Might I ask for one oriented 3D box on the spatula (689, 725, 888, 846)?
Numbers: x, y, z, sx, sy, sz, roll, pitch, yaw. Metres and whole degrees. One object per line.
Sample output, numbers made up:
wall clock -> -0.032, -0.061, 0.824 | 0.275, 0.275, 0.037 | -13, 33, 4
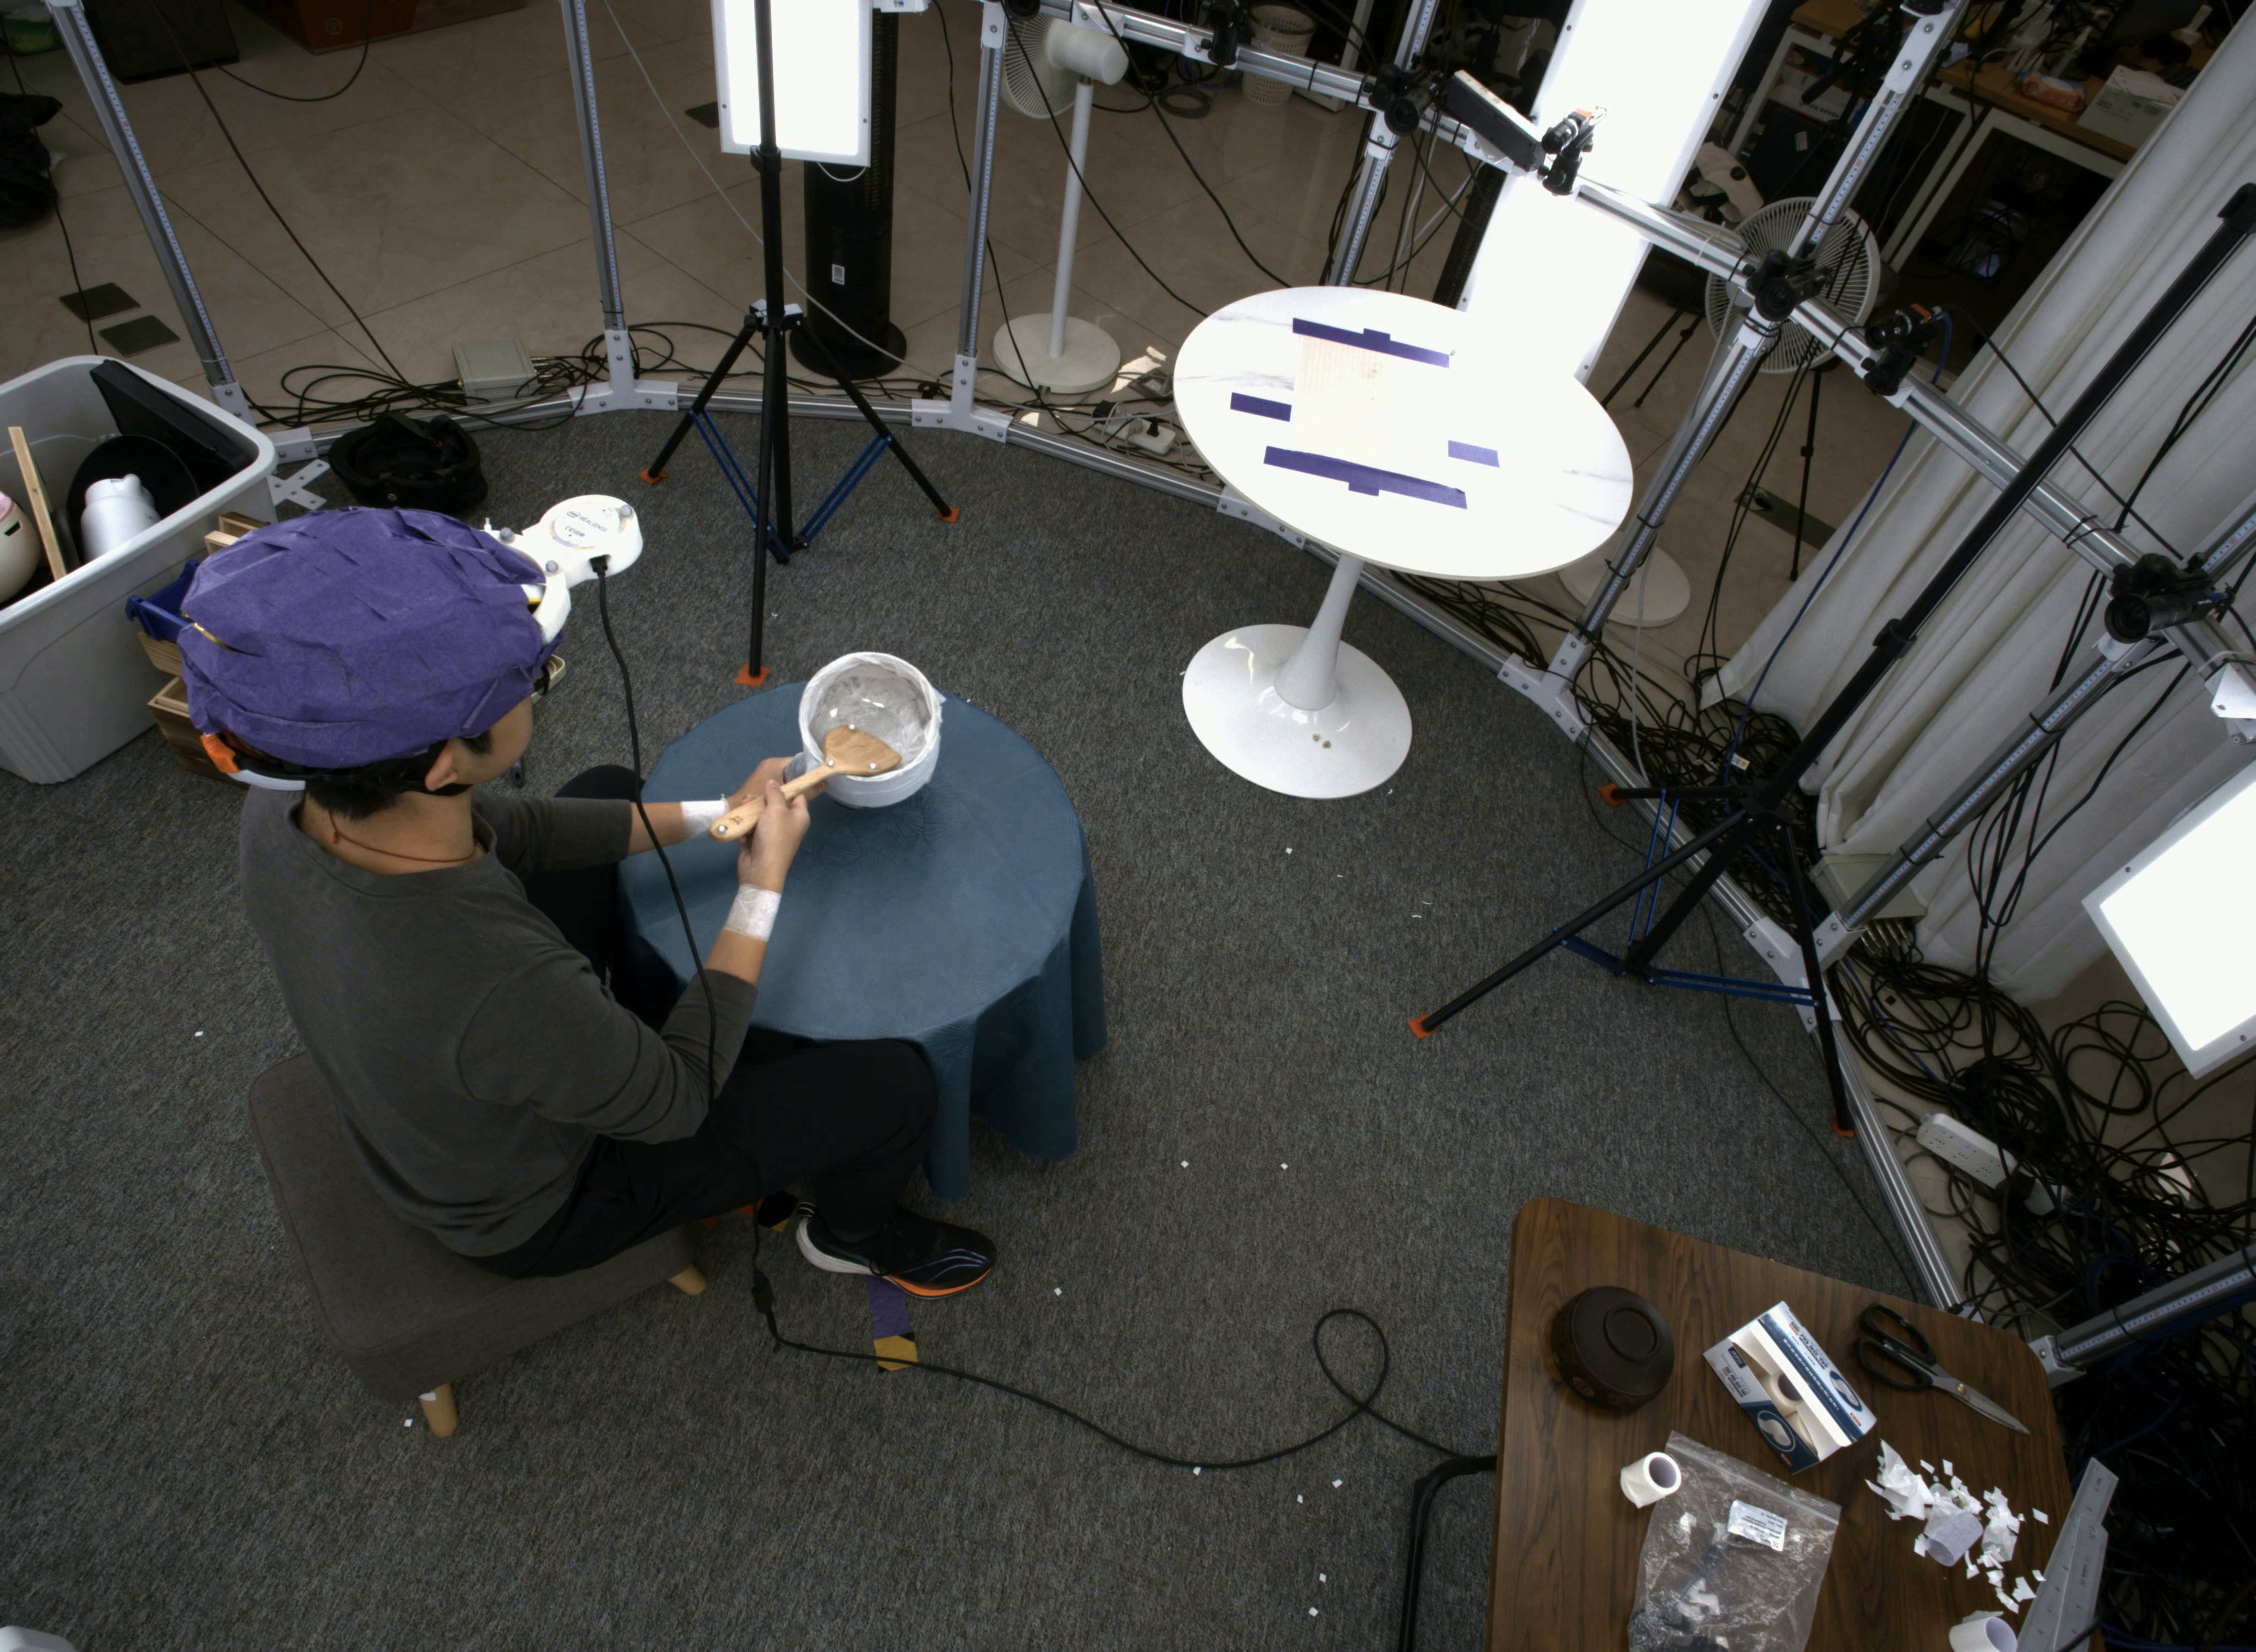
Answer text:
spatula -> -0.397, -0.048, 1.516 | 0.095, 0.019, 0.389 | 30, 23, 4

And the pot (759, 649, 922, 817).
pot -> -0.377, -0.103, 1.678 | 0.234, 0.137, 0.177 | -39, 82, -20
